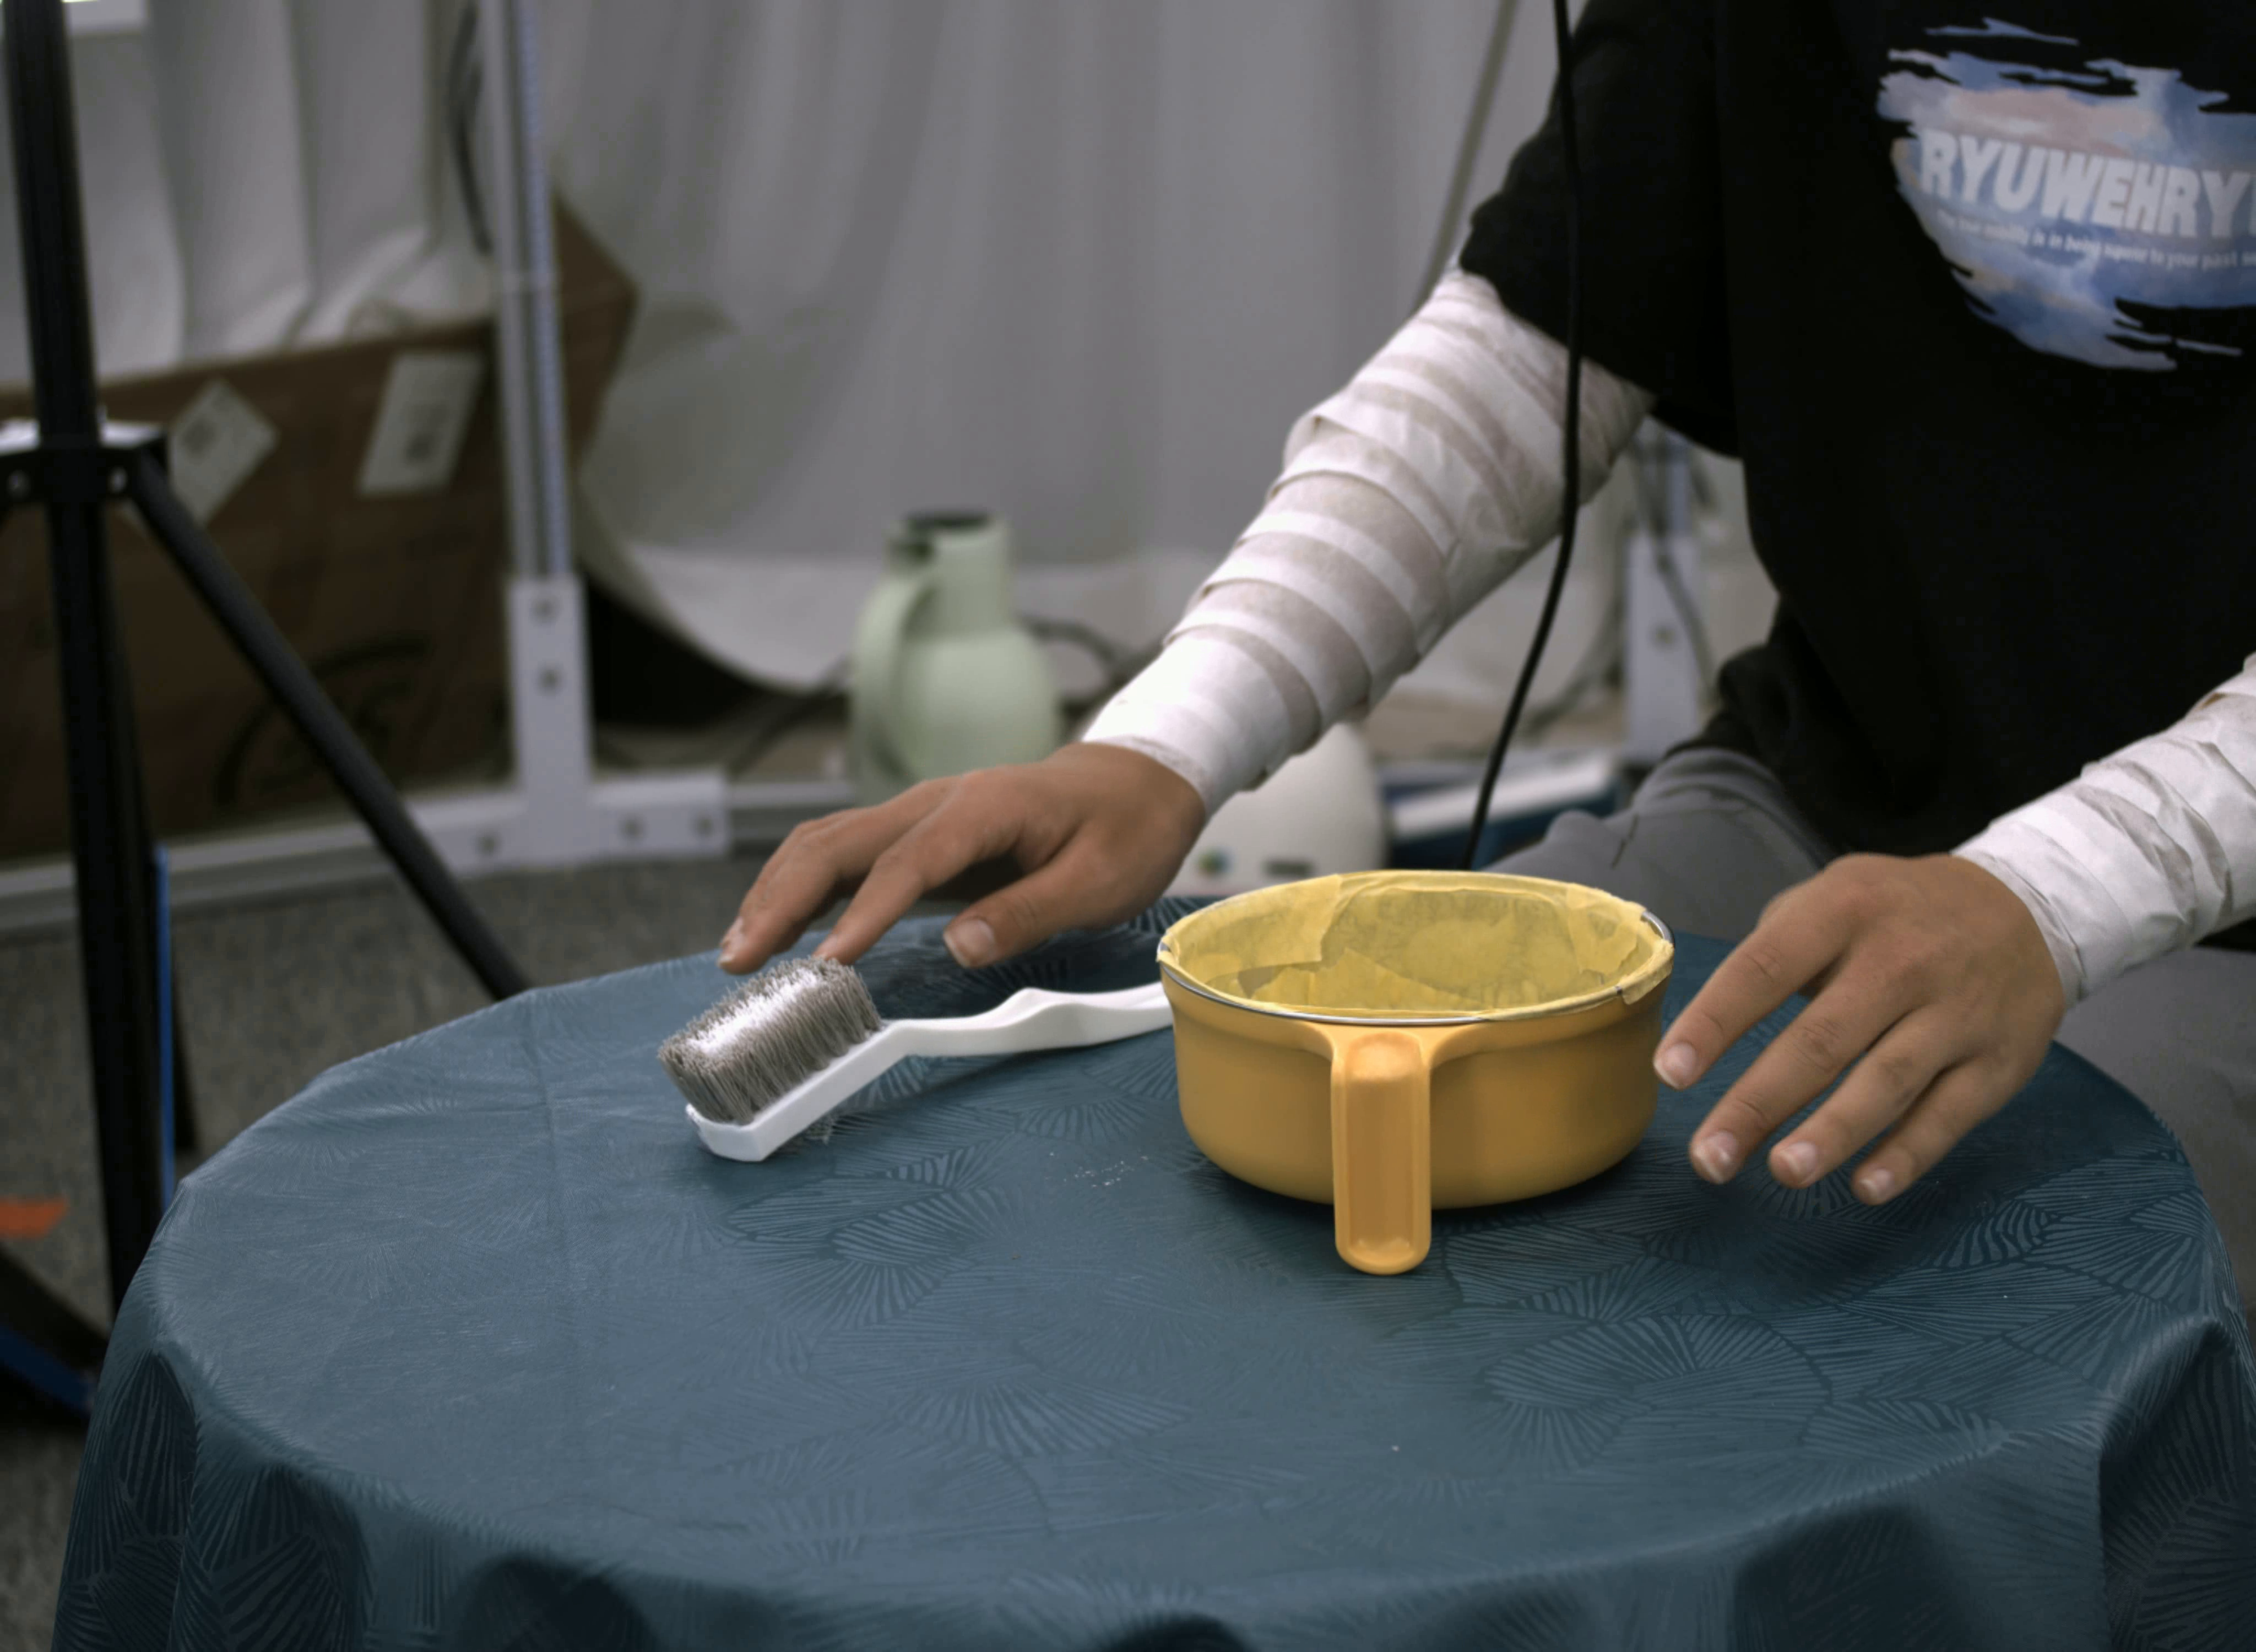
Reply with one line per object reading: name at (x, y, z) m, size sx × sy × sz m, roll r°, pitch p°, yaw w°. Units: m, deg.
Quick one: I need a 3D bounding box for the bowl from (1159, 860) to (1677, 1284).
bowl at (0.083, 0.069, 1.559) m, size 0.153 × 0.074 × 0.179 m, roll 4°, pitch 17°, yaw 6°

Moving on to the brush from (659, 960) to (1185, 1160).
brush at (-0.042, 0.053, 1.667) m, size 0.238 × 0.050 × 0.035 m, roll -15°, pitch 18°, yaw -37°
